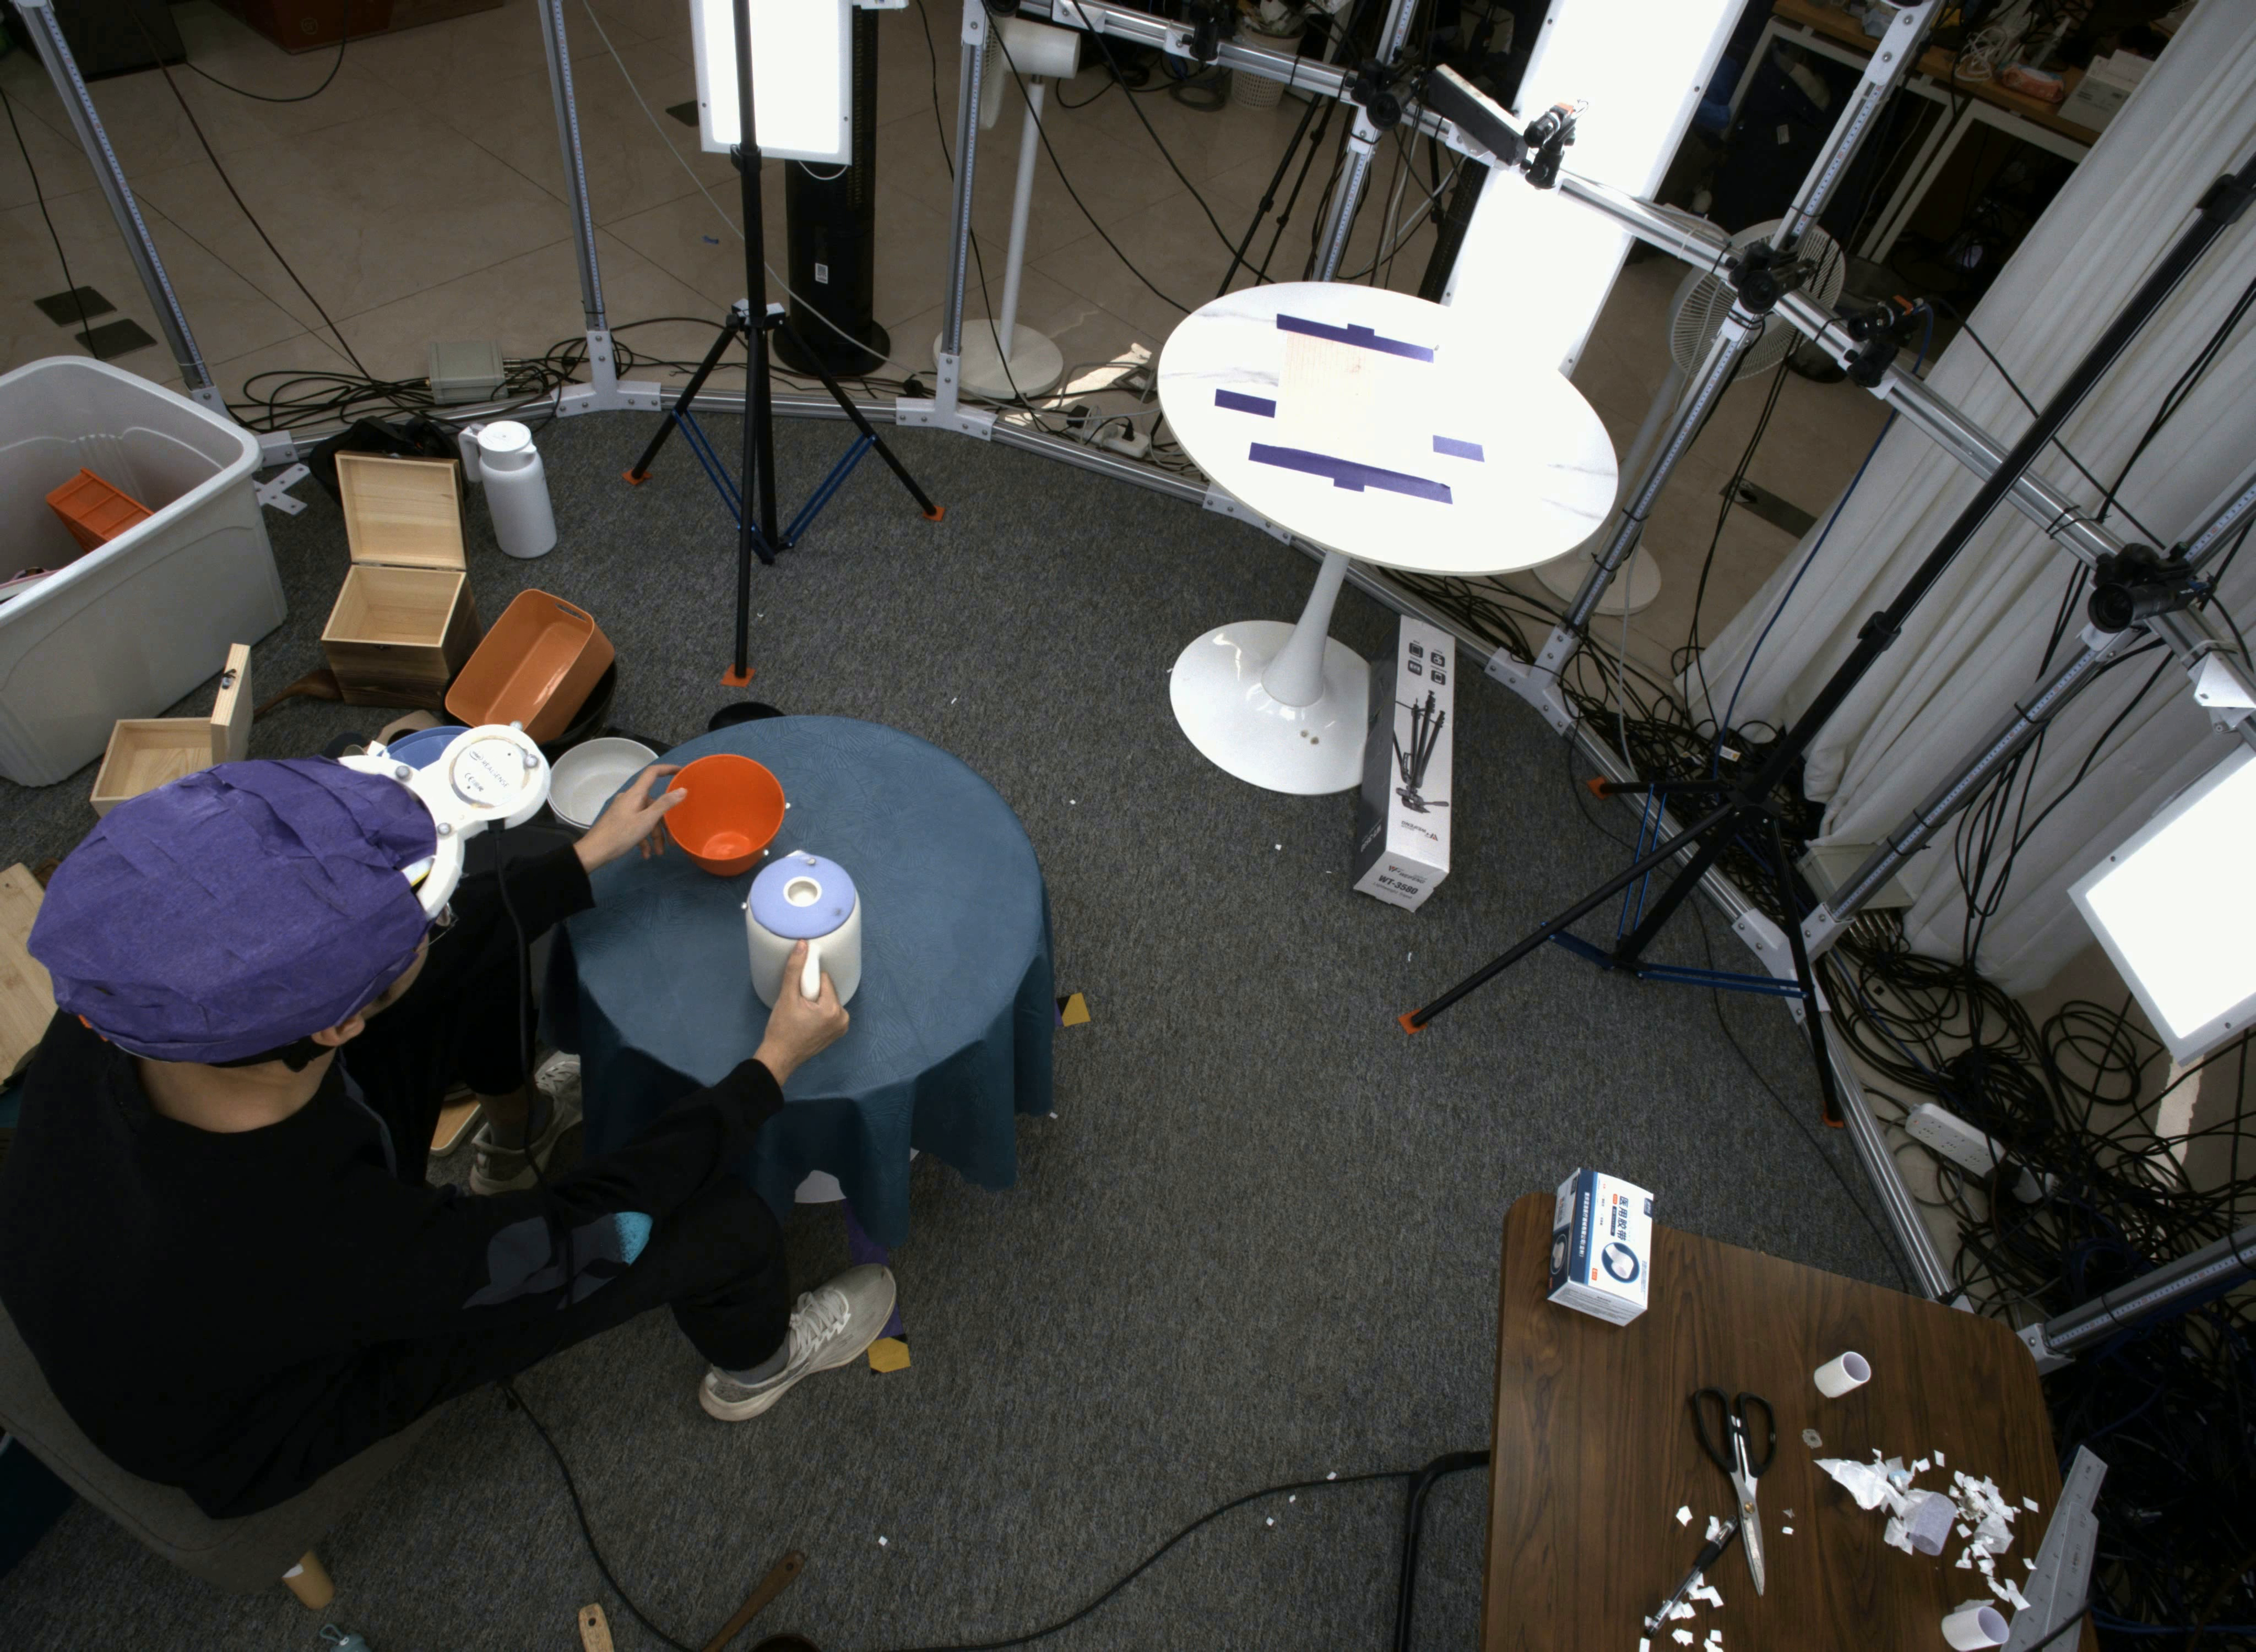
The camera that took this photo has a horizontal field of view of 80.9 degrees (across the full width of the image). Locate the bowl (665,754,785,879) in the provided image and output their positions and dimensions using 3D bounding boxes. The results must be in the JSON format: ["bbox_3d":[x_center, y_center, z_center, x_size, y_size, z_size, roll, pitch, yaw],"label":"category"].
[{"bbox_3d":[-0.509,-0.002,1.643,0.148,0.107,0.145,8,52,-8],"label":"bowl"}]

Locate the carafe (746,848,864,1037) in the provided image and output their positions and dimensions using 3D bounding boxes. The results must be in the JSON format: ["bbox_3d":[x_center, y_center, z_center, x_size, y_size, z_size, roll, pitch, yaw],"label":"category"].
[{"bbox_3d":[-0.375,0.148,1.521,0.132,0.186,0.187,-8,56,-16],"label":"carafe"}]
